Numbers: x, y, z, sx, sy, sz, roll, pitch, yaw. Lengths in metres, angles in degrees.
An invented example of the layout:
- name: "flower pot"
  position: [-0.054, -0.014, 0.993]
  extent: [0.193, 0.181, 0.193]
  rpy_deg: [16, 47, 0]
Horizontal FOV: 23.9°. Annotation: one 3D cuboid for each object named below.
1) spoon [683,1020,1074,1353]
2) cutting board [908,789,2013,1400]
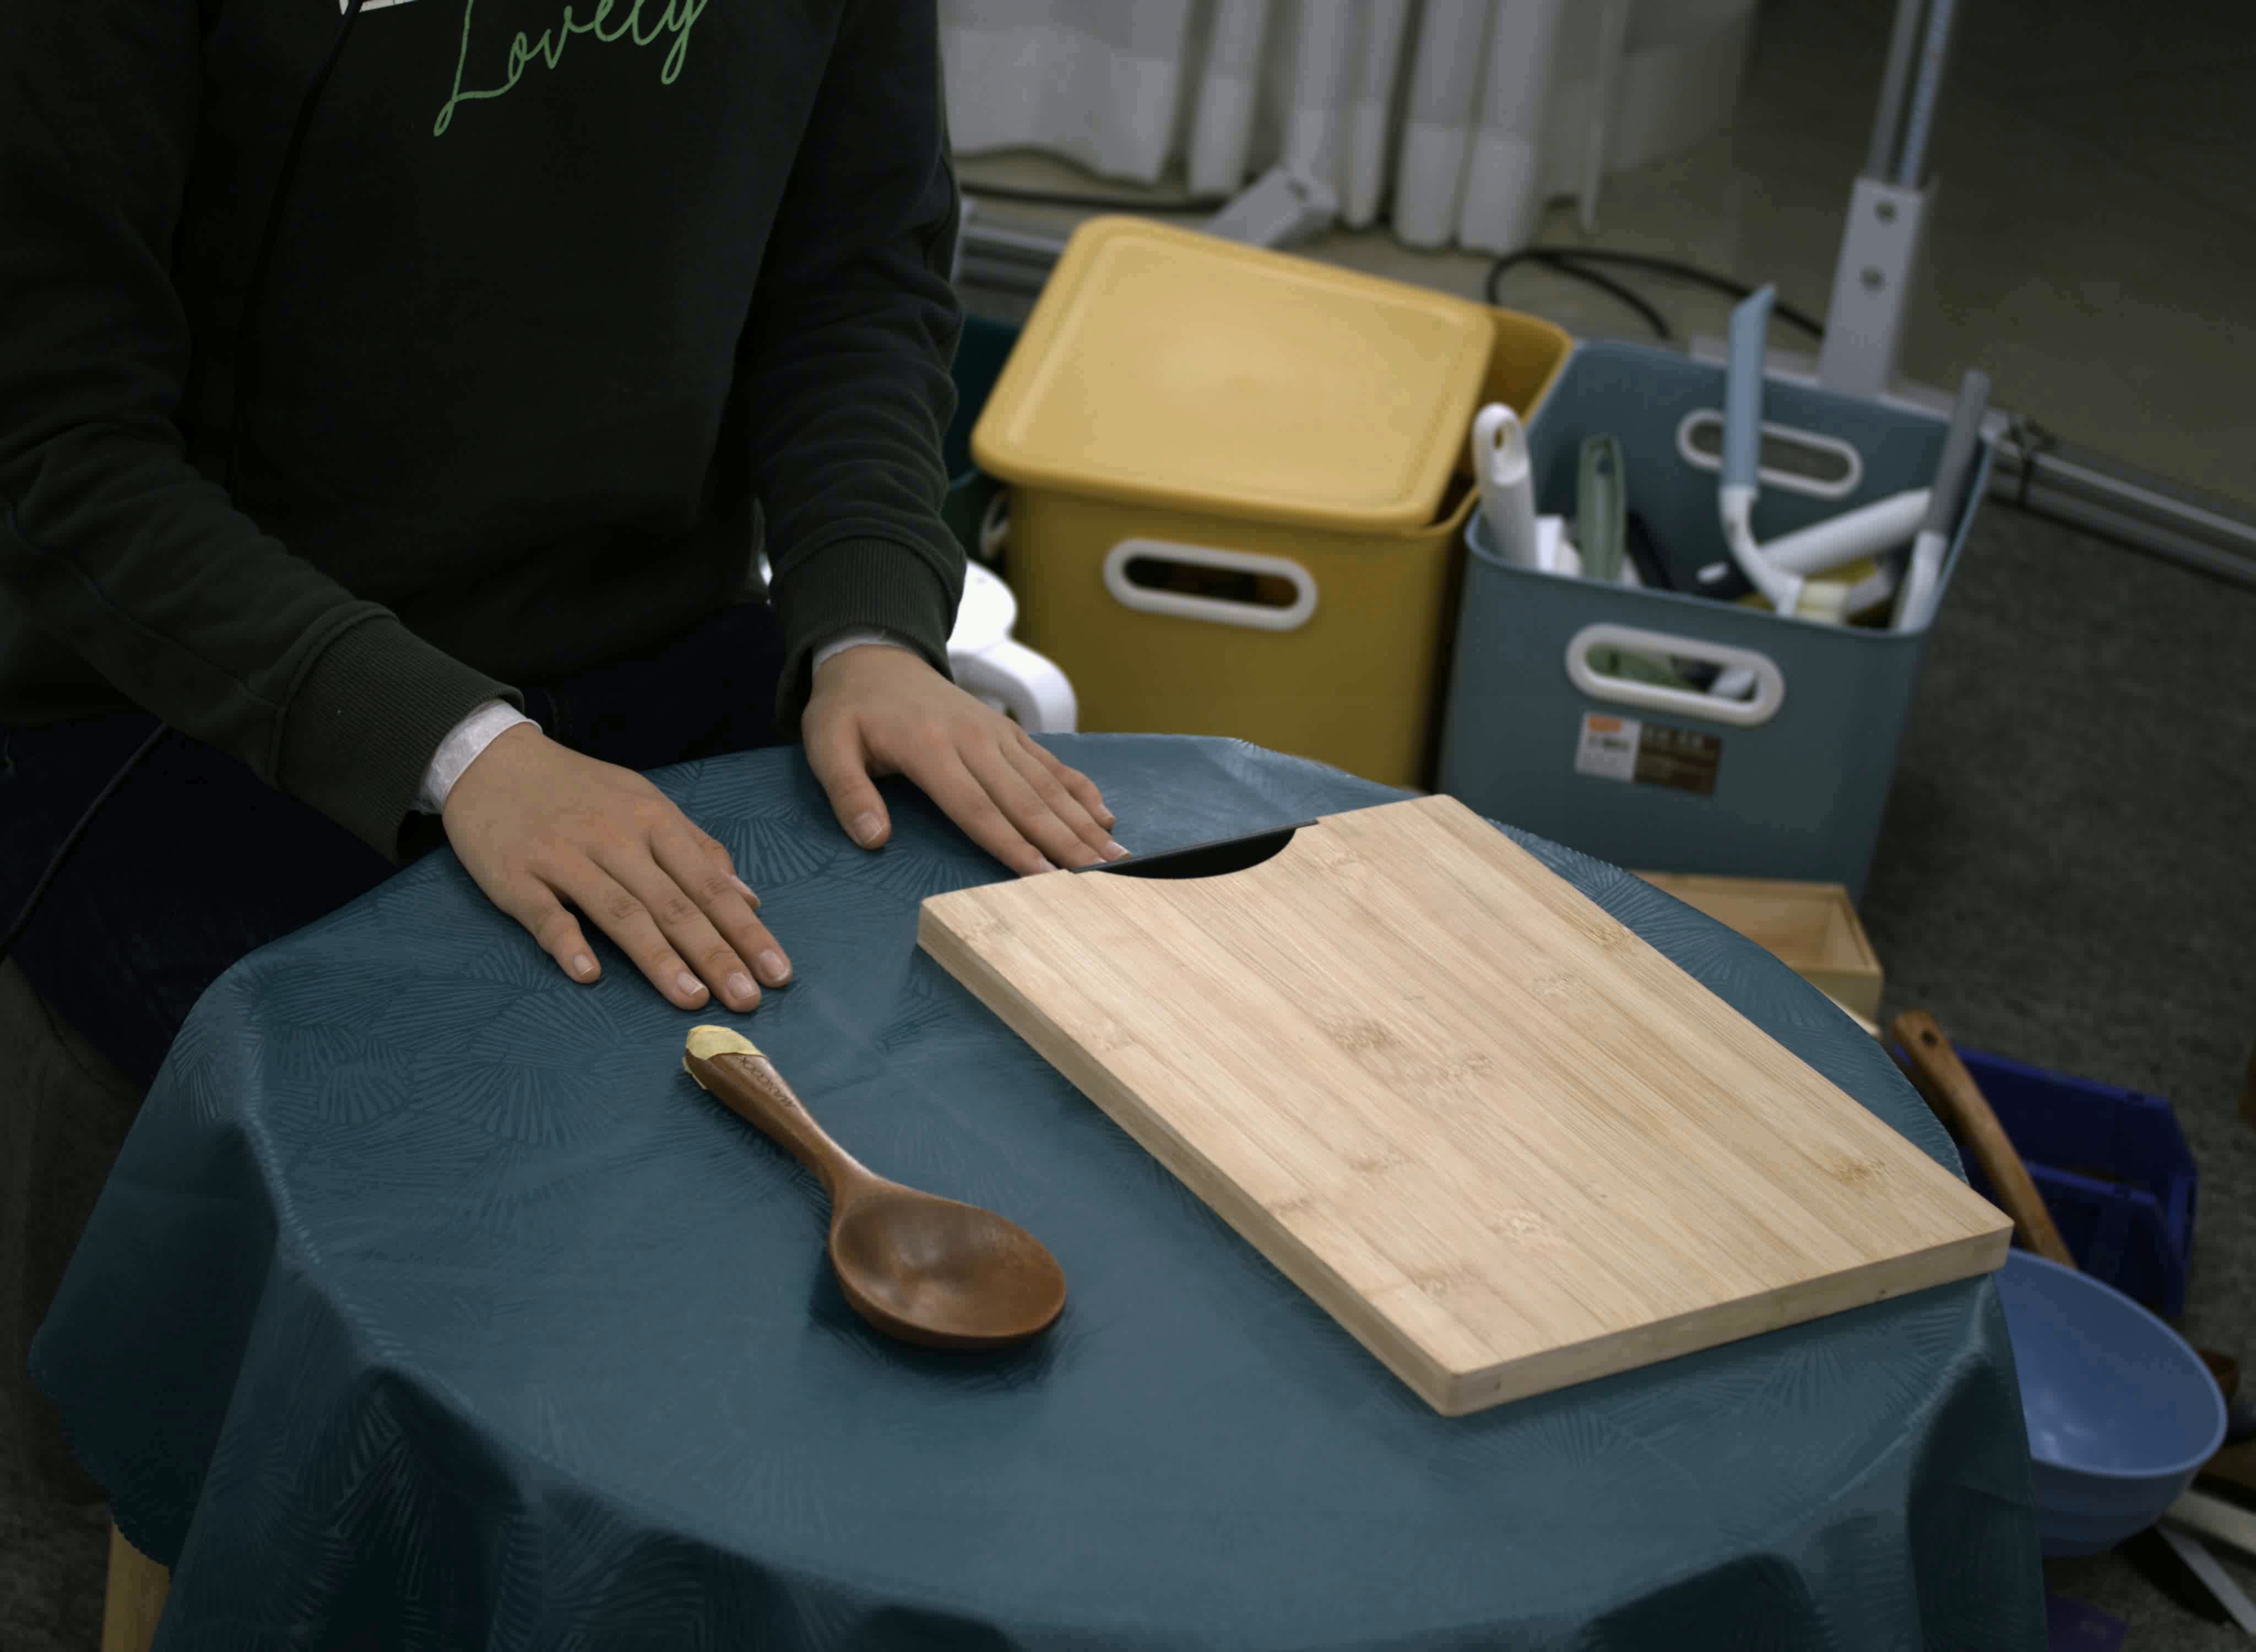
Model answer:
- name: "spoon"
  position: [-0.091, 0.120, 1.768]
  extent: [0.075, 0.017, 0.218]
  rpy_deg: [-11, 32, -30]
- name: "cutting board"
  position: [0.110, 0.087, 1.880]
  extent: [0.249, 0.023, 0.352]
  rpy_deg: [-11, 31, -32]
